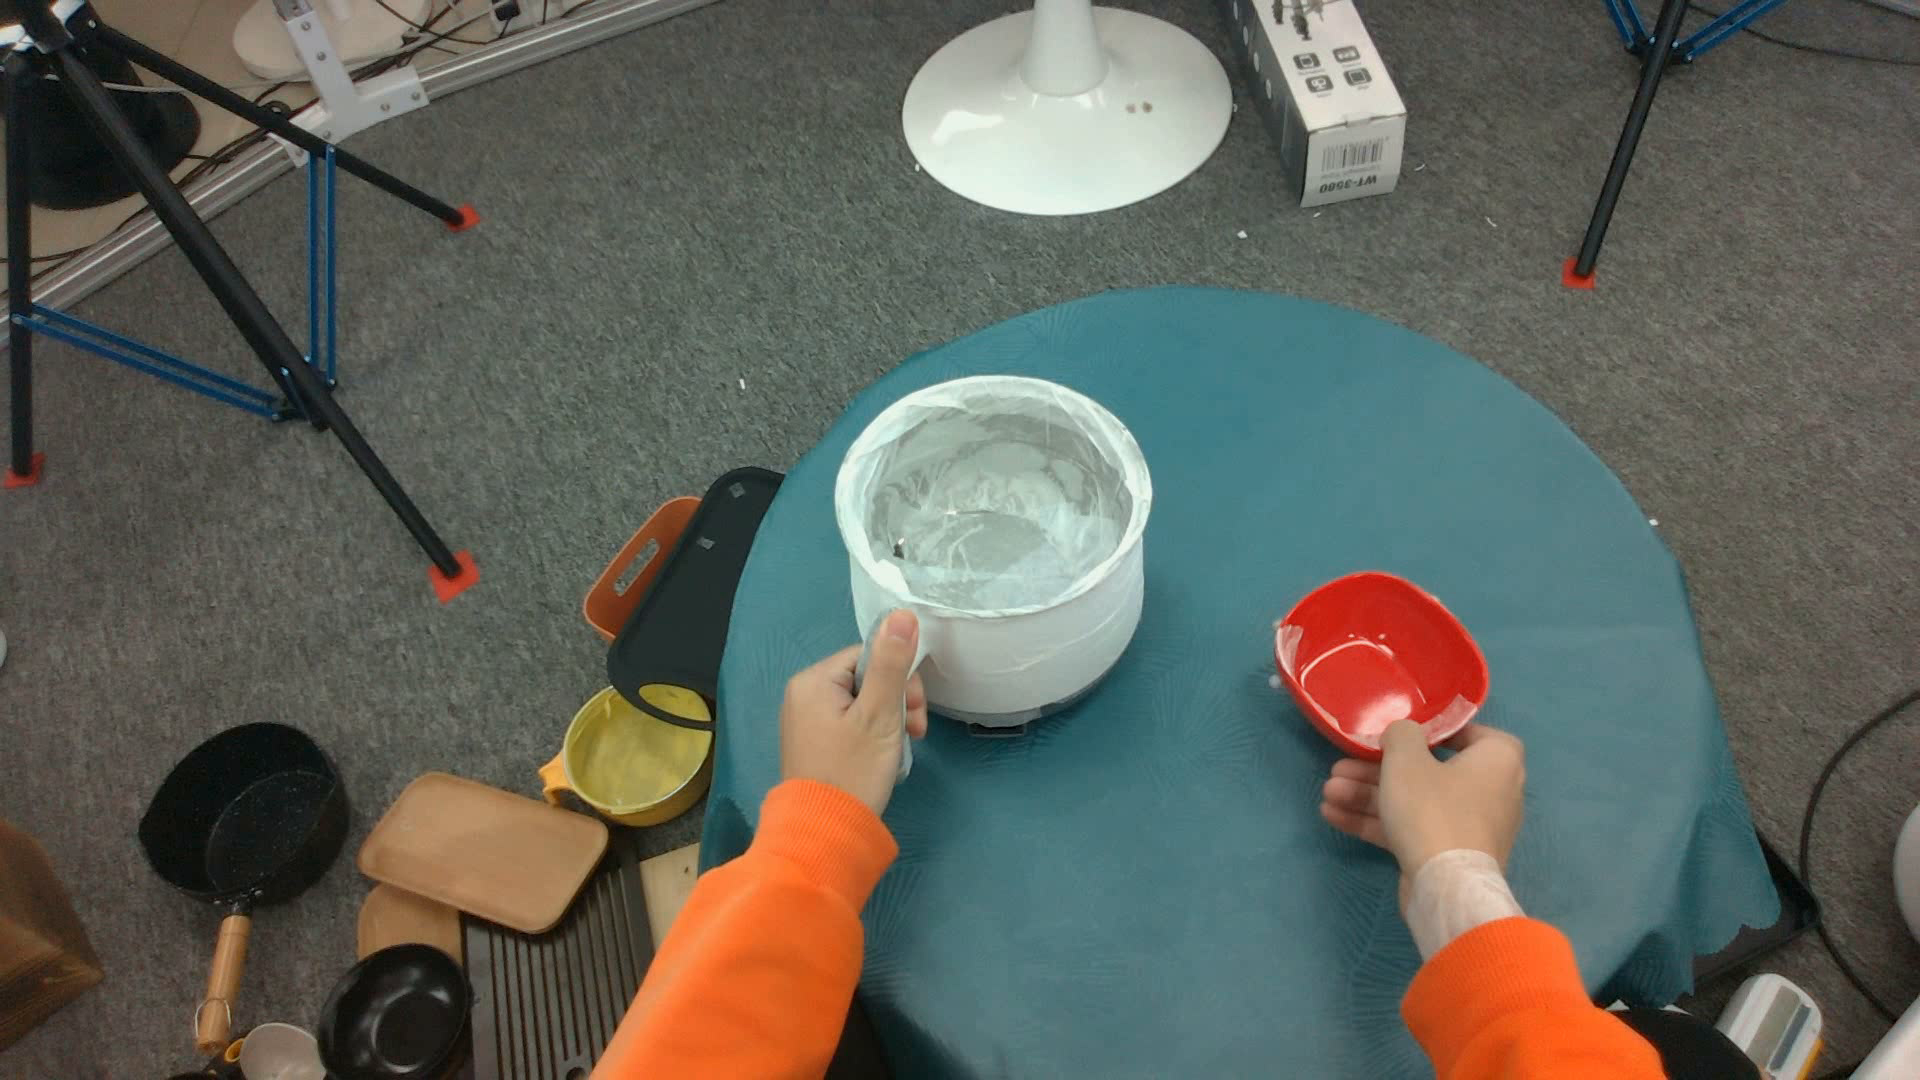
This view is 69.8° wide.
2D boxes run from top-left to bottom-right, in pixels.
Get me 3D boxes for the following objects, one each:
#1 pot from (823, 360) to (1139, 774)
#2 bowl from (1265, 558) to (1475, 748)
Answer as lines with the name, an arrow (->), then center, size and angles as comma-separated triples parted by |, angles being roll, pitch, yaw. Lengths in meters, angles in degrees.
pot -> 0.001, 0.021, 0.801 | 0.178, 0.136, 0.235 | 22, 57, 20
bowl -> 0.230, 0.073, 0.797 | 0.119, 0.051, 0.119 | 3, 55, -3
